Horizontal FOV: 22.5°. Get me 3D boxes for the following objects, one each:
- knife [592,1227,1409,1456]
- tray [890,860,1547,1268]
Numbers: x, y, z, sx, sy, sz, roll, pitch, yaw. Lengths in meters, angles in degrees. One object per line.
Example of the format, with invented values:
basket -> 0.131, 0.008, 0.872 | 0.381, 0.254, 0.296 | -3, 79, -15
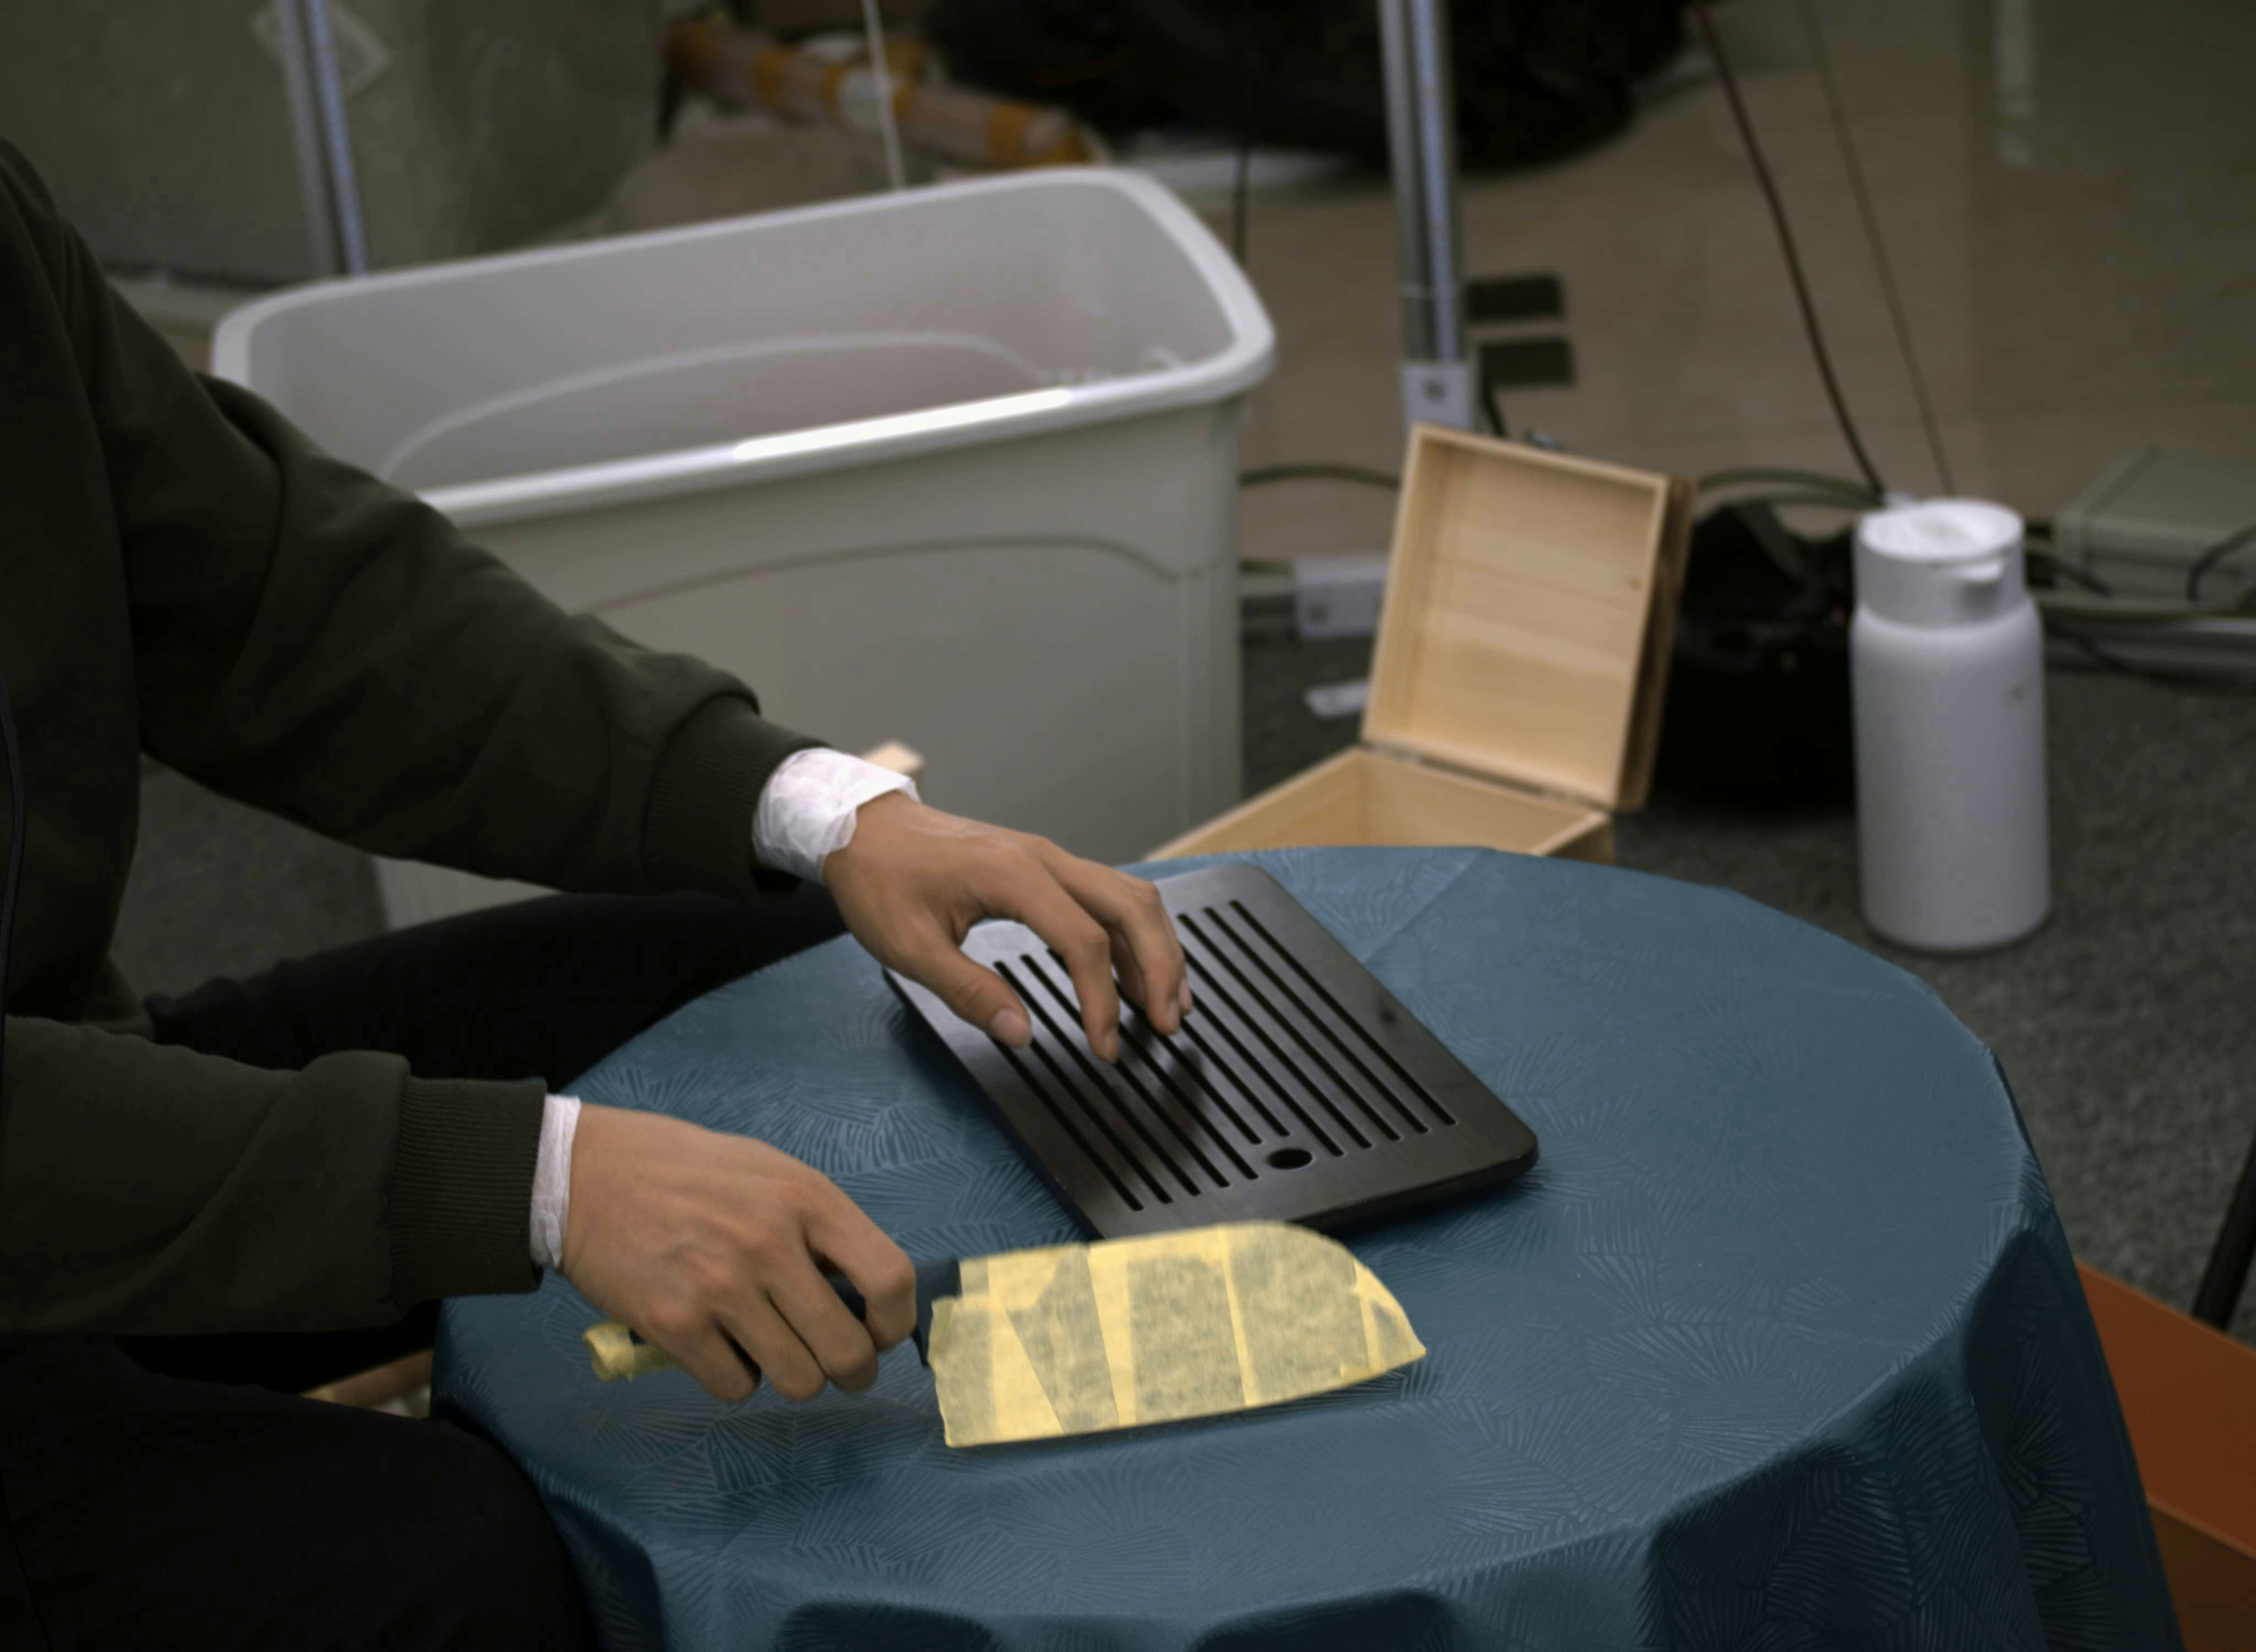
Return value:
knife -> -0.044, 0.186, 2.001 | 0.289, 0.028, 0.079 | -6, 55, -1
tray -> 0.030, 0.092, 2.223 | 0.169, 0.019, 0.302 | -15, 26, -16
